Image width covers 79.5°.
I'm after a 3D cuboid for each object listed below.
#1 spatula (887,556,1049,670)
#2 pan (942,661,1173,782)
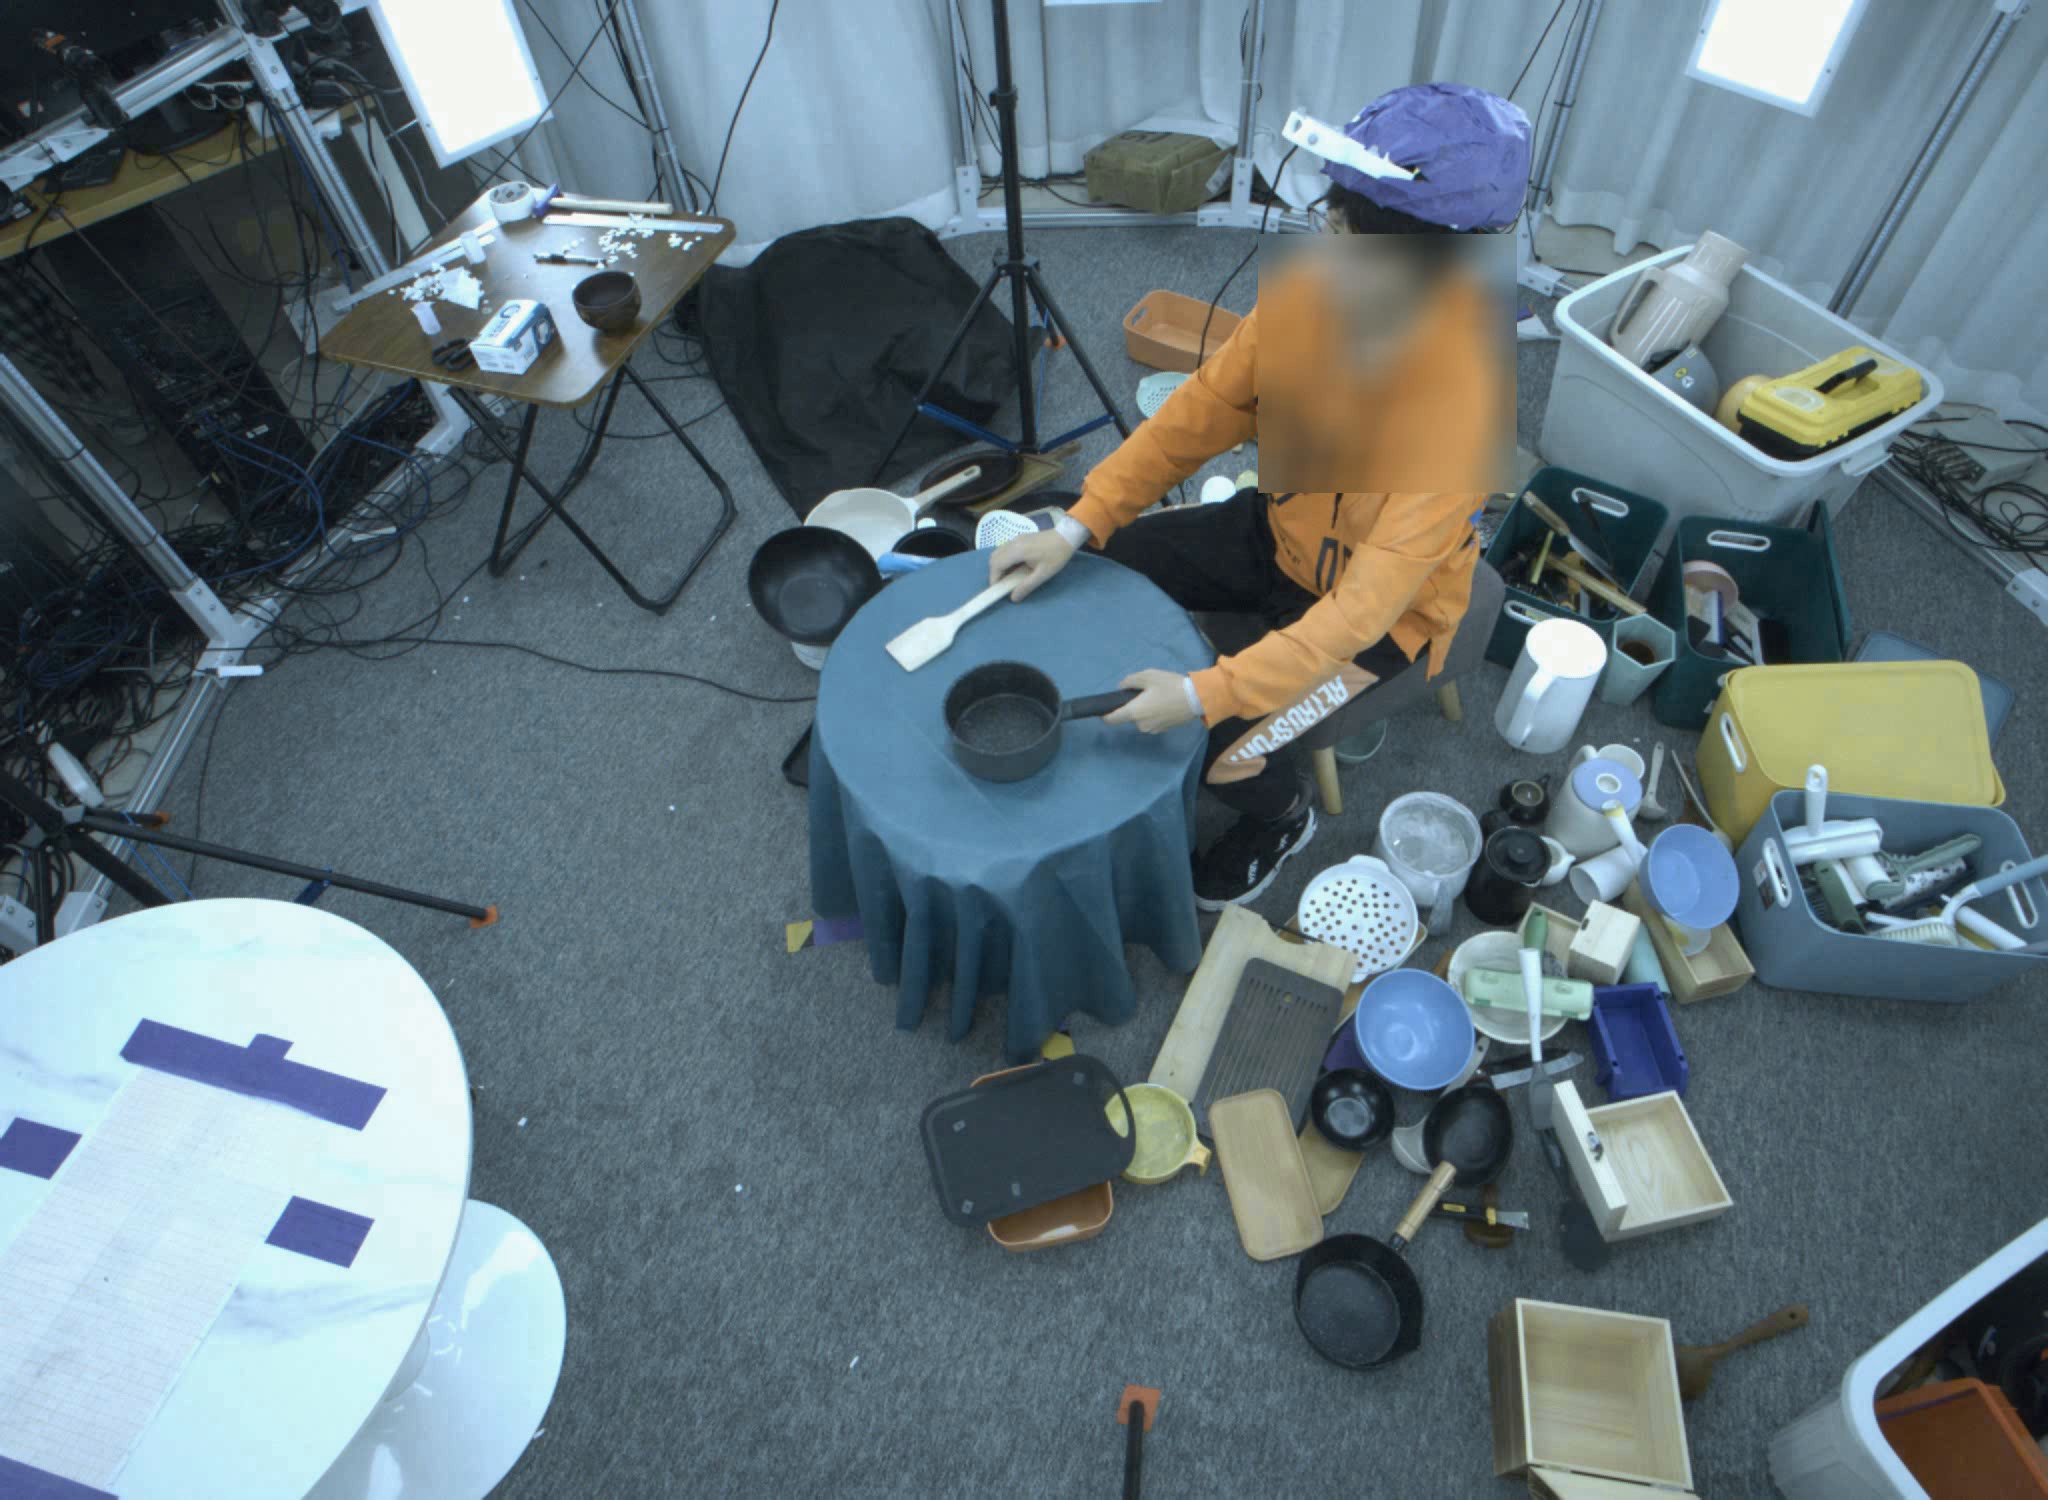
[{"bbox_3d":[-0.081,-0.224,1.931,0.294,0.011,0.071,-36,59,-15],"label":"spatula"},{"bbox_3d":[0.050,-0.046,1.766,0.328,0.087,0.170,-3,55,2],"label":"pan"}]
